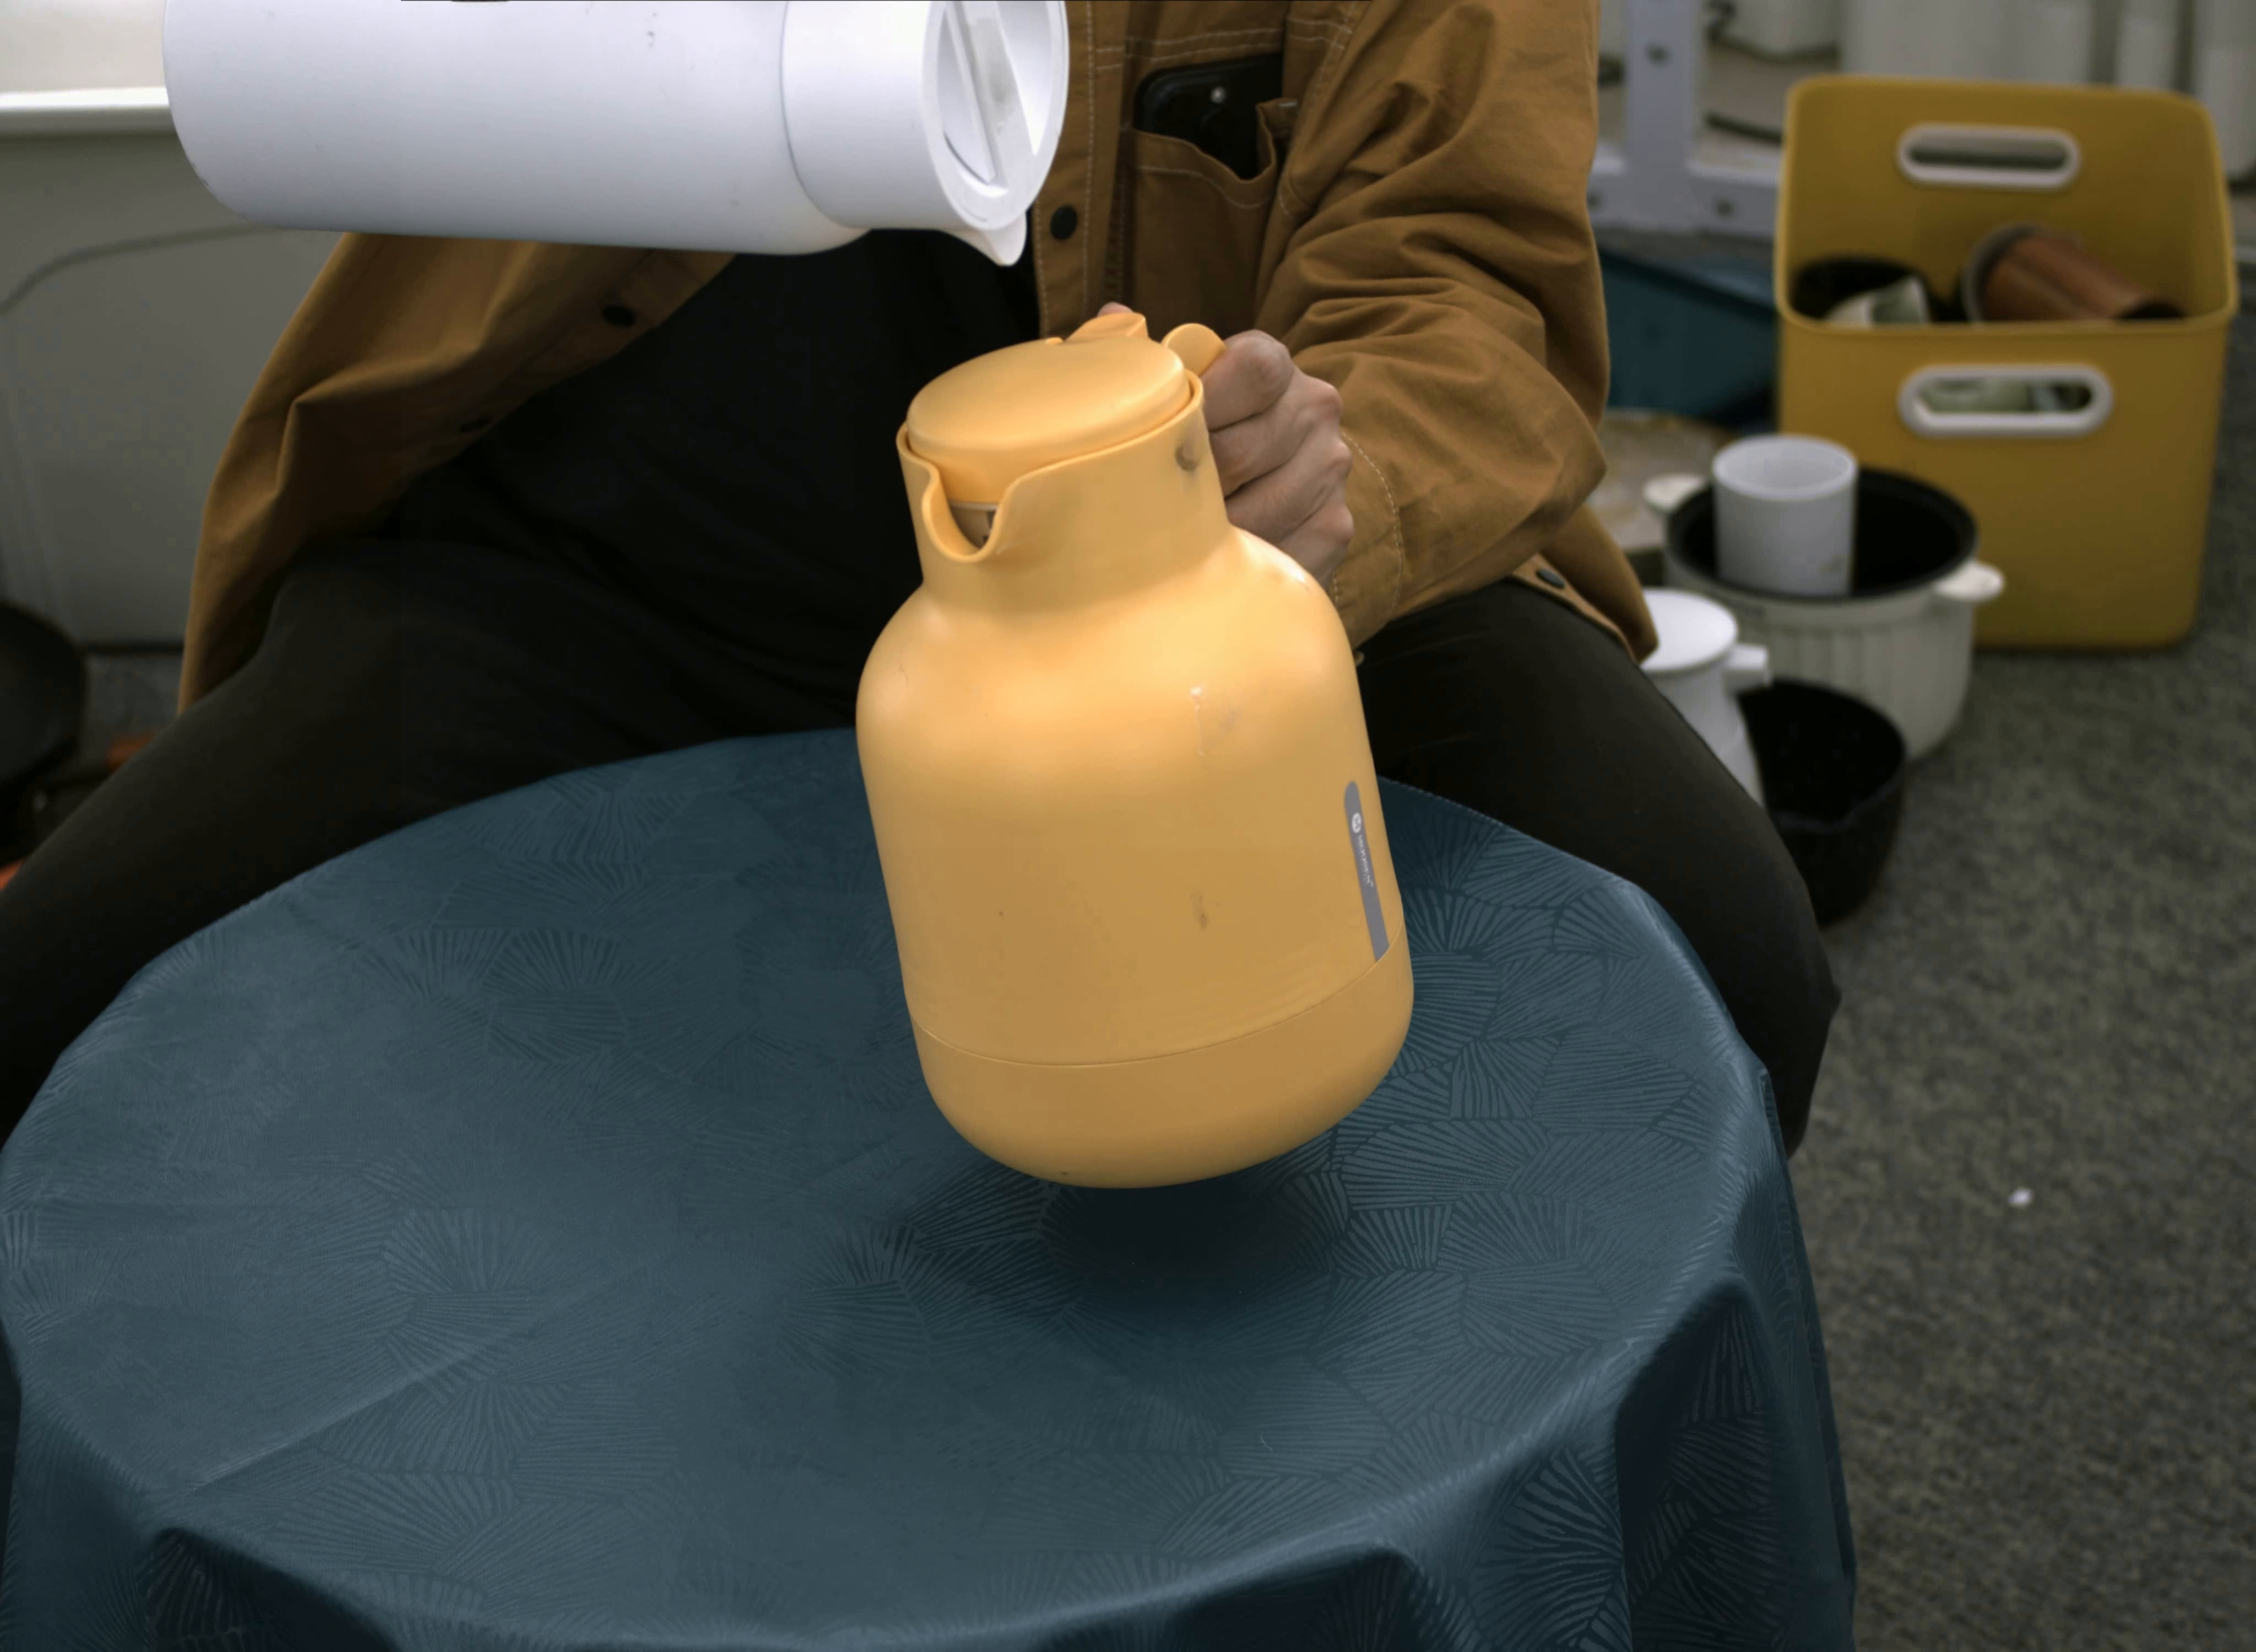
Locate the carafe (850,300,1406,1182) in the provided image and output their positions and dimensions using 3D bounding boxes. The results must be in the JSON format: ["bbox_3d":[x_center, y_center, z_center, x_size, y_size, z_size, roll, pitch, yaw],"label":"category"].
[{"bbox_3d":[0.003,-0.036,1.801,0.162,0.258,0.206,3,27,26],"label":"carafe"}]

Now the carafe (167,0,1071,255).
[{"bbox_3d":[-0.160,-0.252,1.727,0.267,0.171,0.126,6,40,26],"label":"carafe"}]
